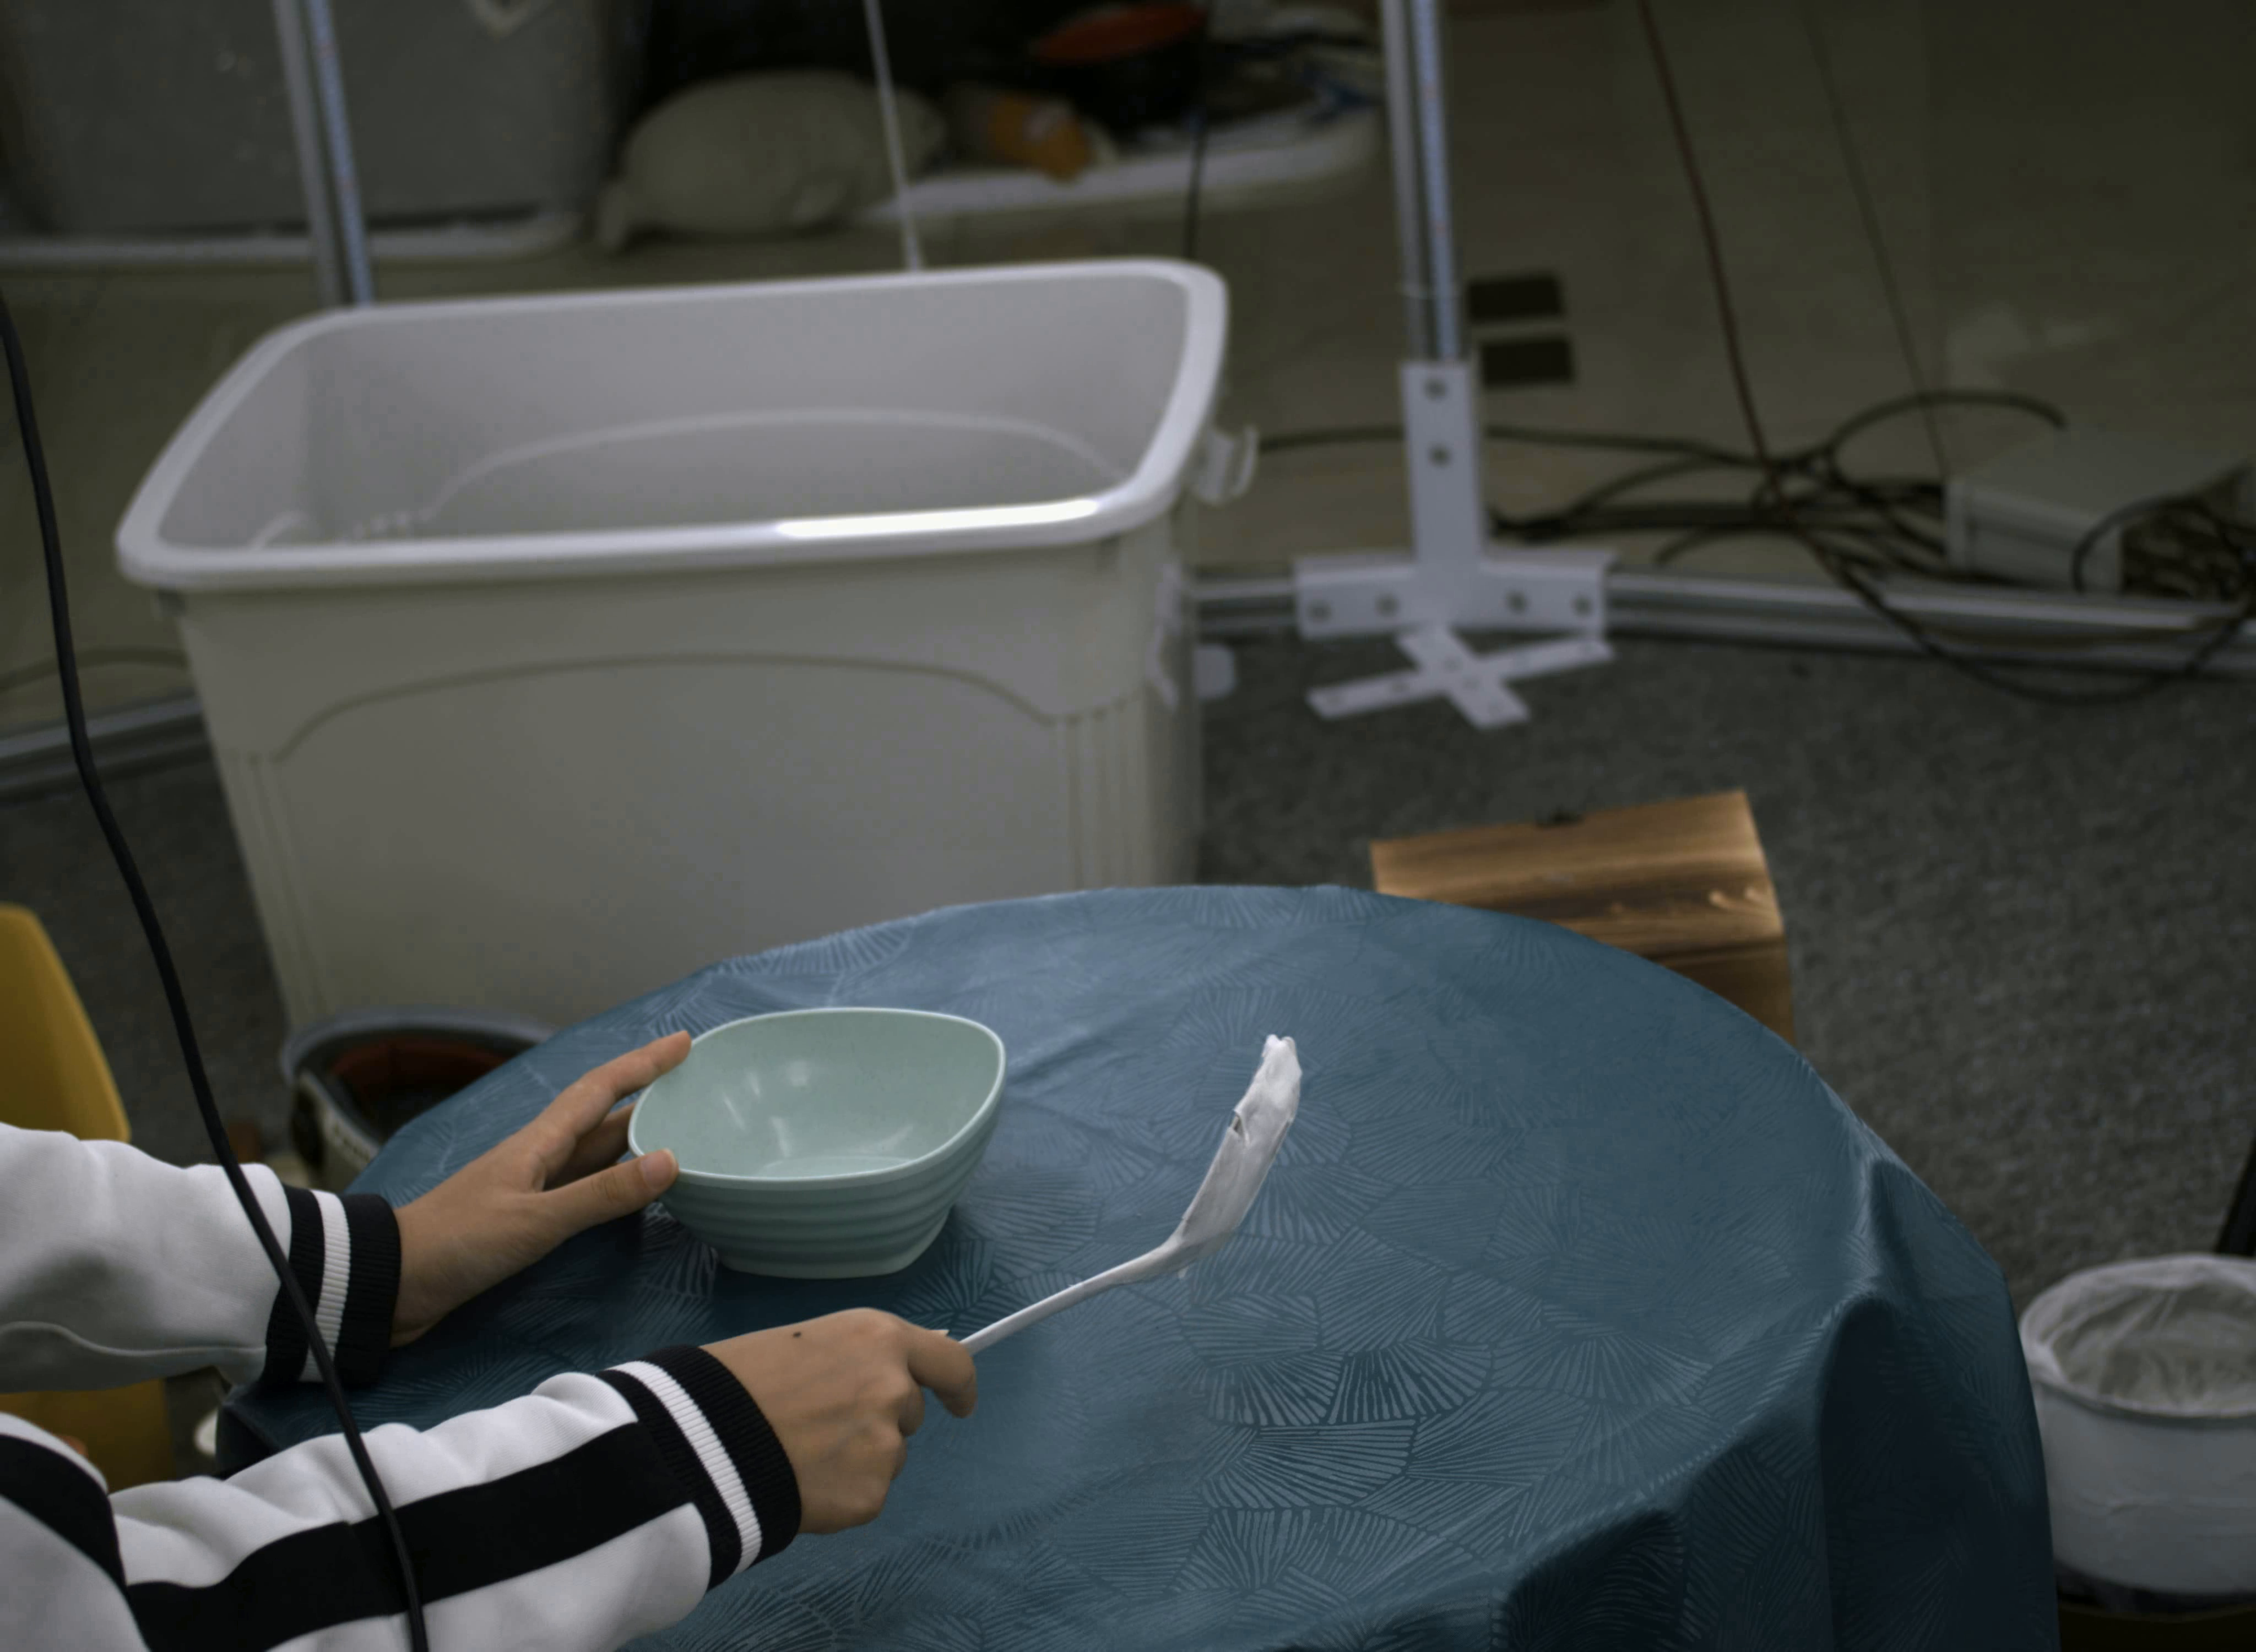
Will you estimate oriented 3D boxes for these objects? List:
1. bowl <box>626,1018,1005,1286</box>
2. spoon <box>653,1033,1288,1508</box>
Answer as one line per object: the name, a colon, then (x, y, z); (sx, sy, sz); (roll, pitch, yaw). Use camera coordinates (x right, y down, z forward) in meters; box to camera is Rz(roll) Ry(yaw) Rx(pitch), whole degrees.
bowl: (-0.114, 0.128, 2.137); (0.151, 0.059, 0.149); (-5, 25, 3)
spoon: (-0.053, 0.155, 1.945); (0.276, 0.102, 0.058); (-24, 61, -21)
